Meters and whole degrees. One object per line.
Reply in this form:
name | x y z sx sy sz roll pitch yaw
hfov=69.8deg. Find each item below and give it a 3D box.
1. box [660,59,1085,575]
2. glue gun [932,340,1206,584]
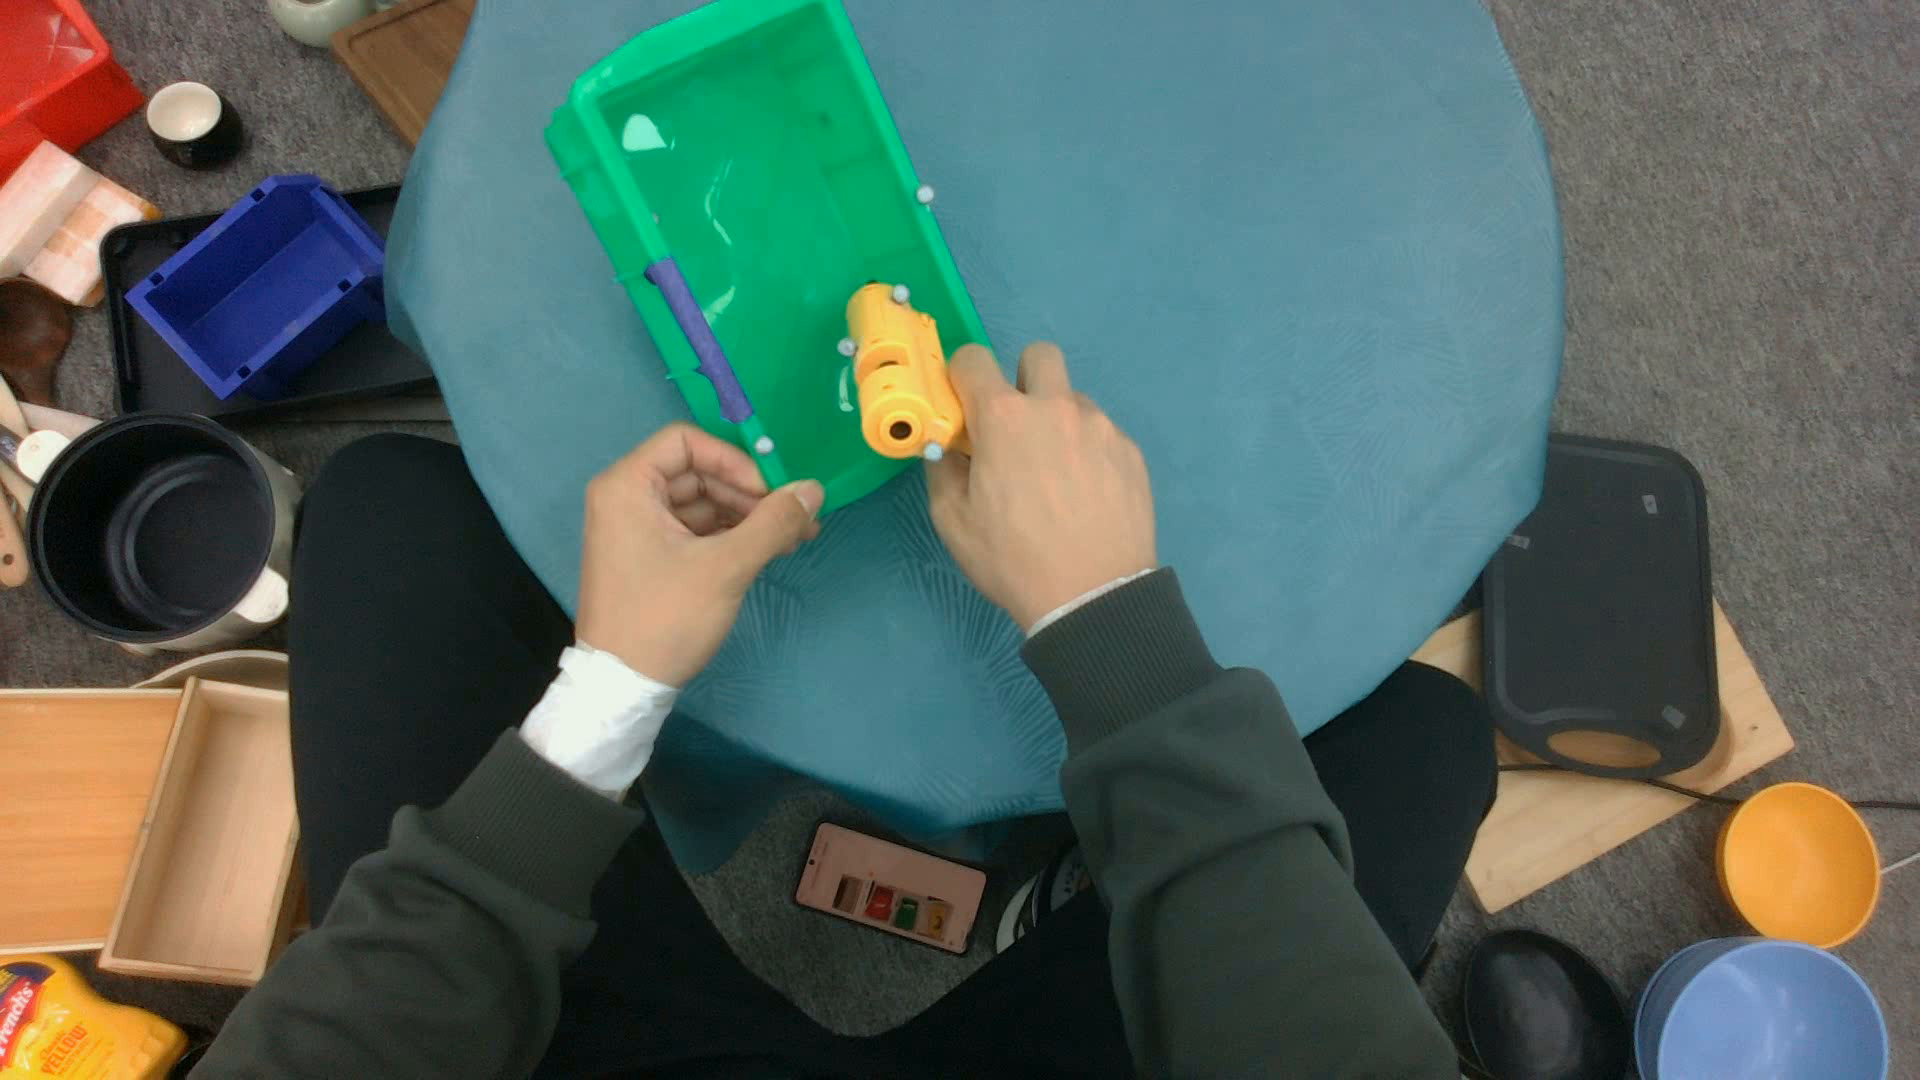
box | -0.040 -0.101 0.642 0.139 0.065 0.210 -34 111 -27
glue gun | 0.043 -0.046 0.651 0.133 0.152 0.031 21 119 -22
